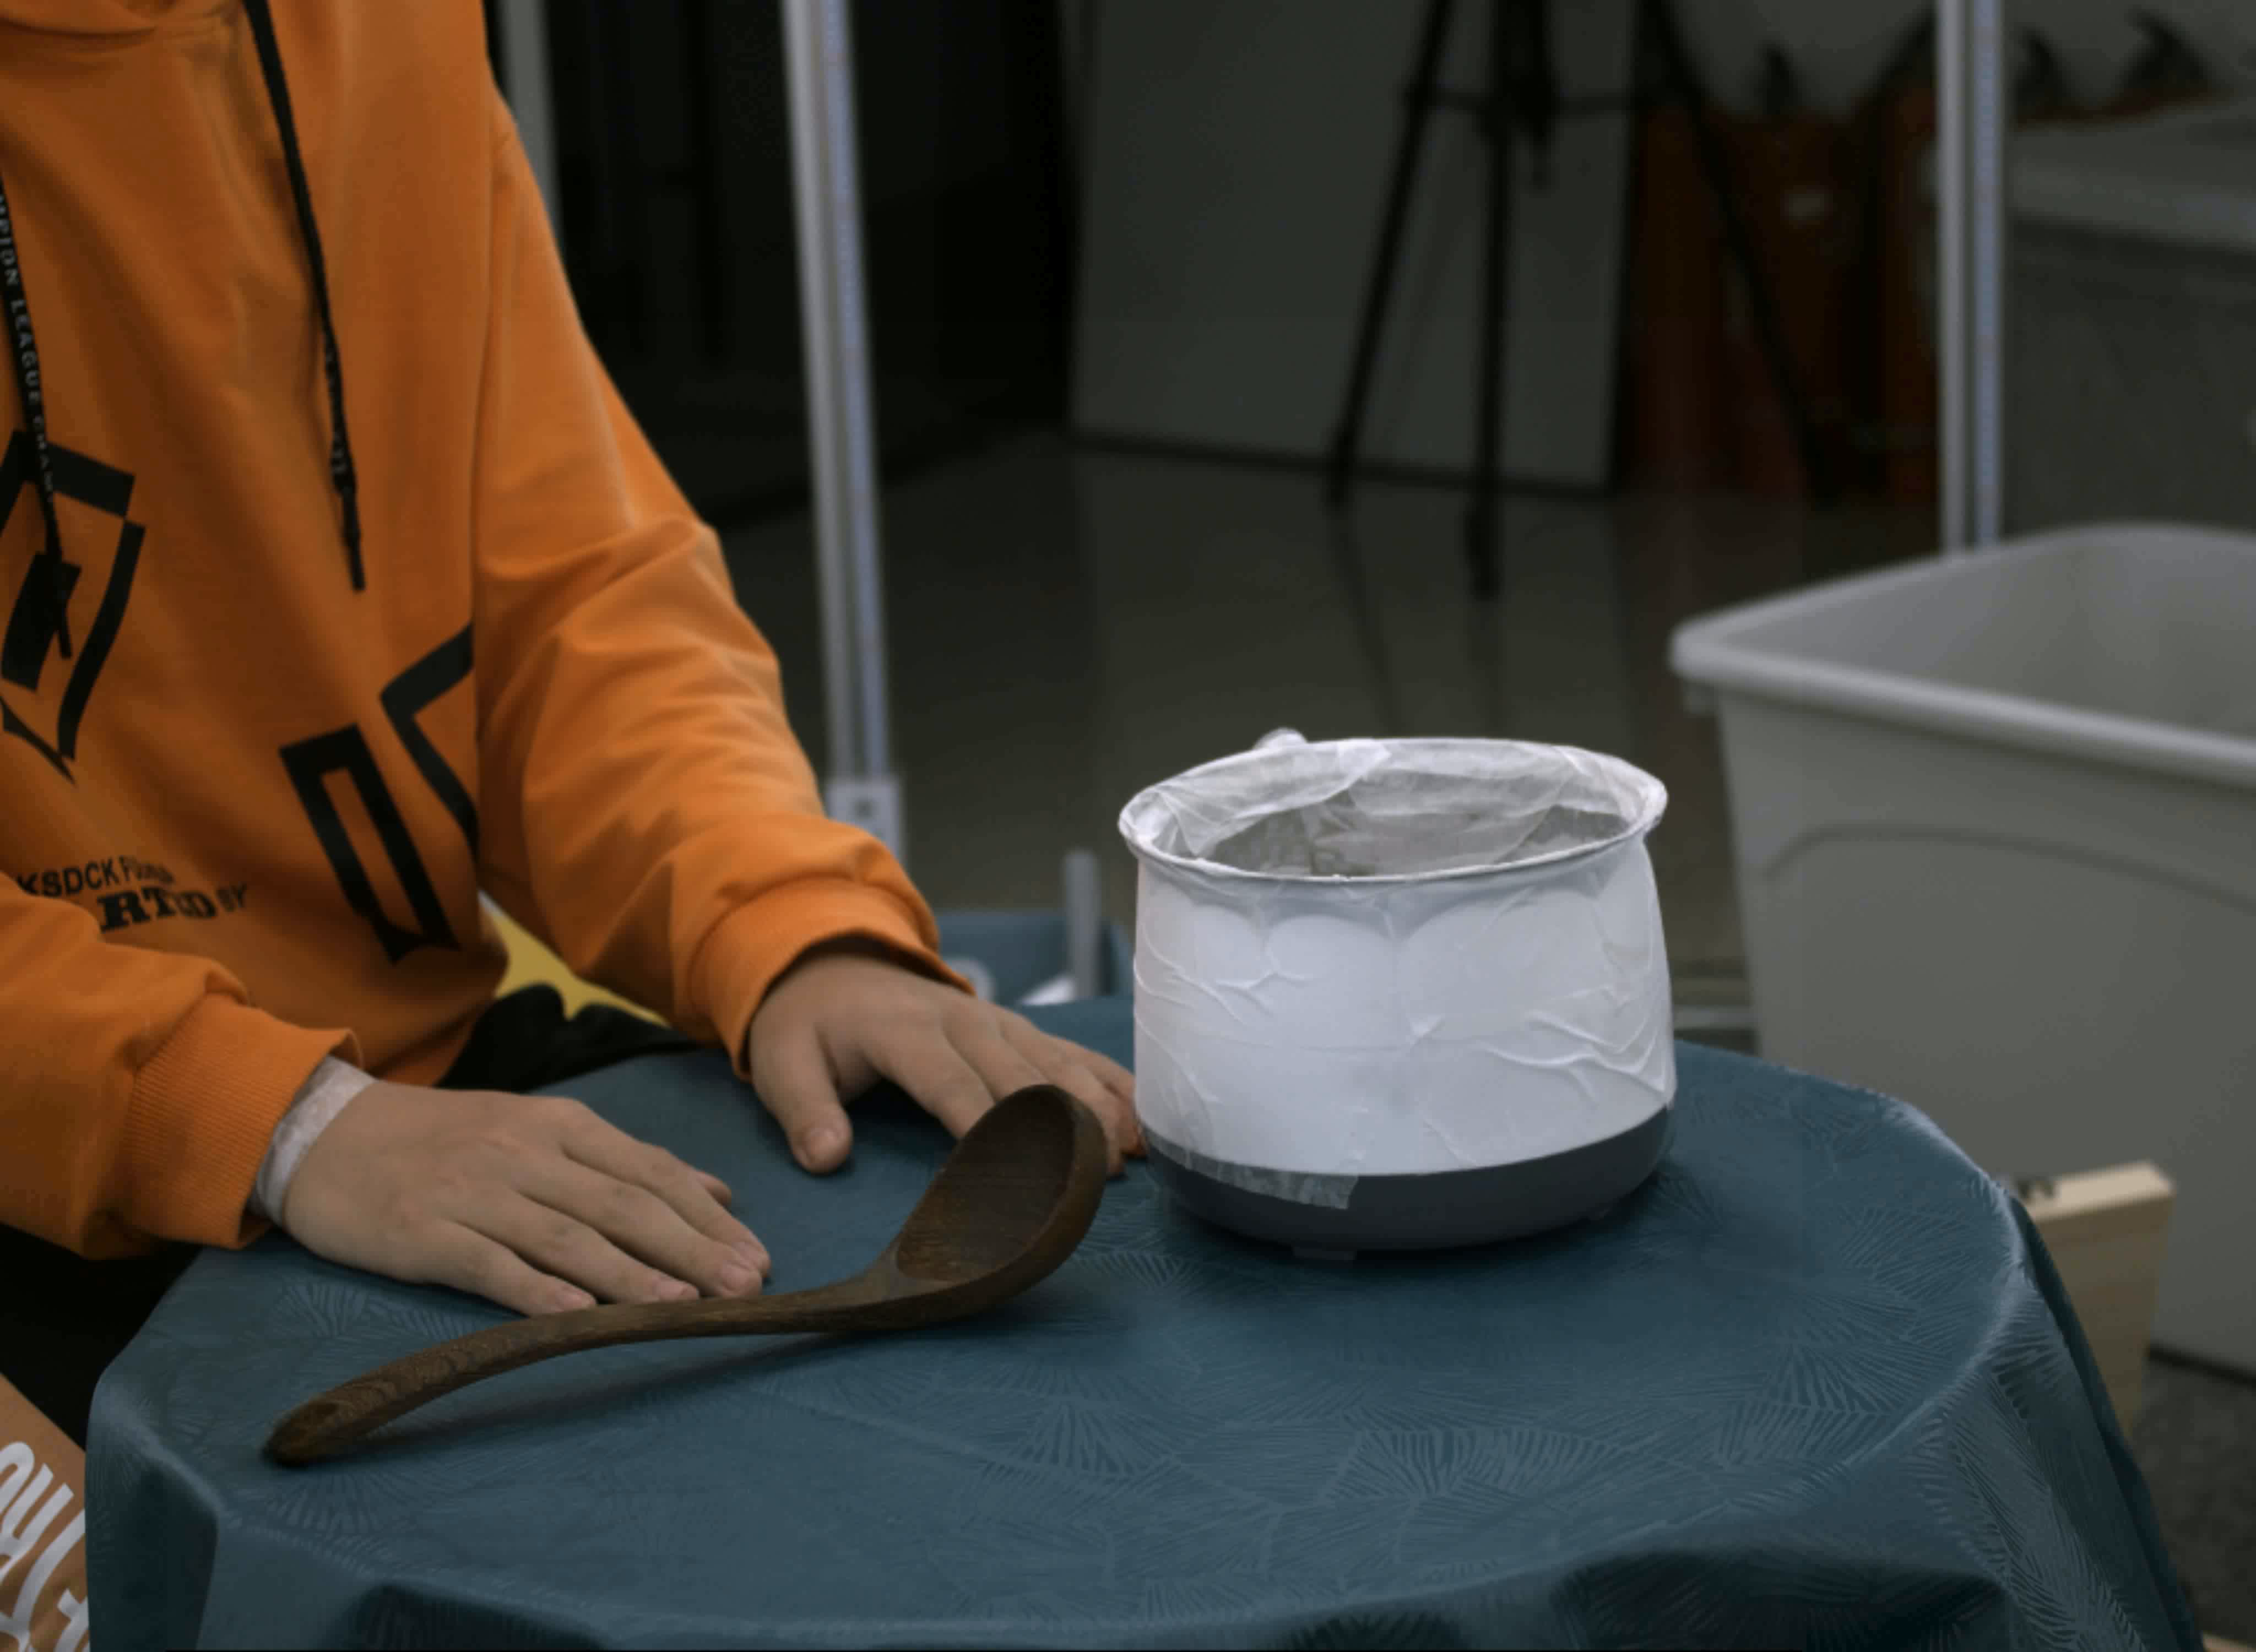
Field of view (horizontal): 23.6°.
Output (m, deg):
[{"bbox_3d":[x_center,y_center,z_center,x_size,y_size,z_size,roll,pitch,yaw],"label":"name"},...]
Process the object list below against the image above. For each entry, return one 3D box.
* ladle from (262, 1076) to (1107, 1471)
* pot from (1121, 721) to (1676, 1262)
[{"bbox_3d":[-0.131,0.131,1.622,0.268,0.072,0.077,-10,11,-24],"label":"ladle"},{"bbox_3d":[0.078,0.047,1.757,0.175,0.138,0.236,-8,14,-18],"label":"pot"}]
